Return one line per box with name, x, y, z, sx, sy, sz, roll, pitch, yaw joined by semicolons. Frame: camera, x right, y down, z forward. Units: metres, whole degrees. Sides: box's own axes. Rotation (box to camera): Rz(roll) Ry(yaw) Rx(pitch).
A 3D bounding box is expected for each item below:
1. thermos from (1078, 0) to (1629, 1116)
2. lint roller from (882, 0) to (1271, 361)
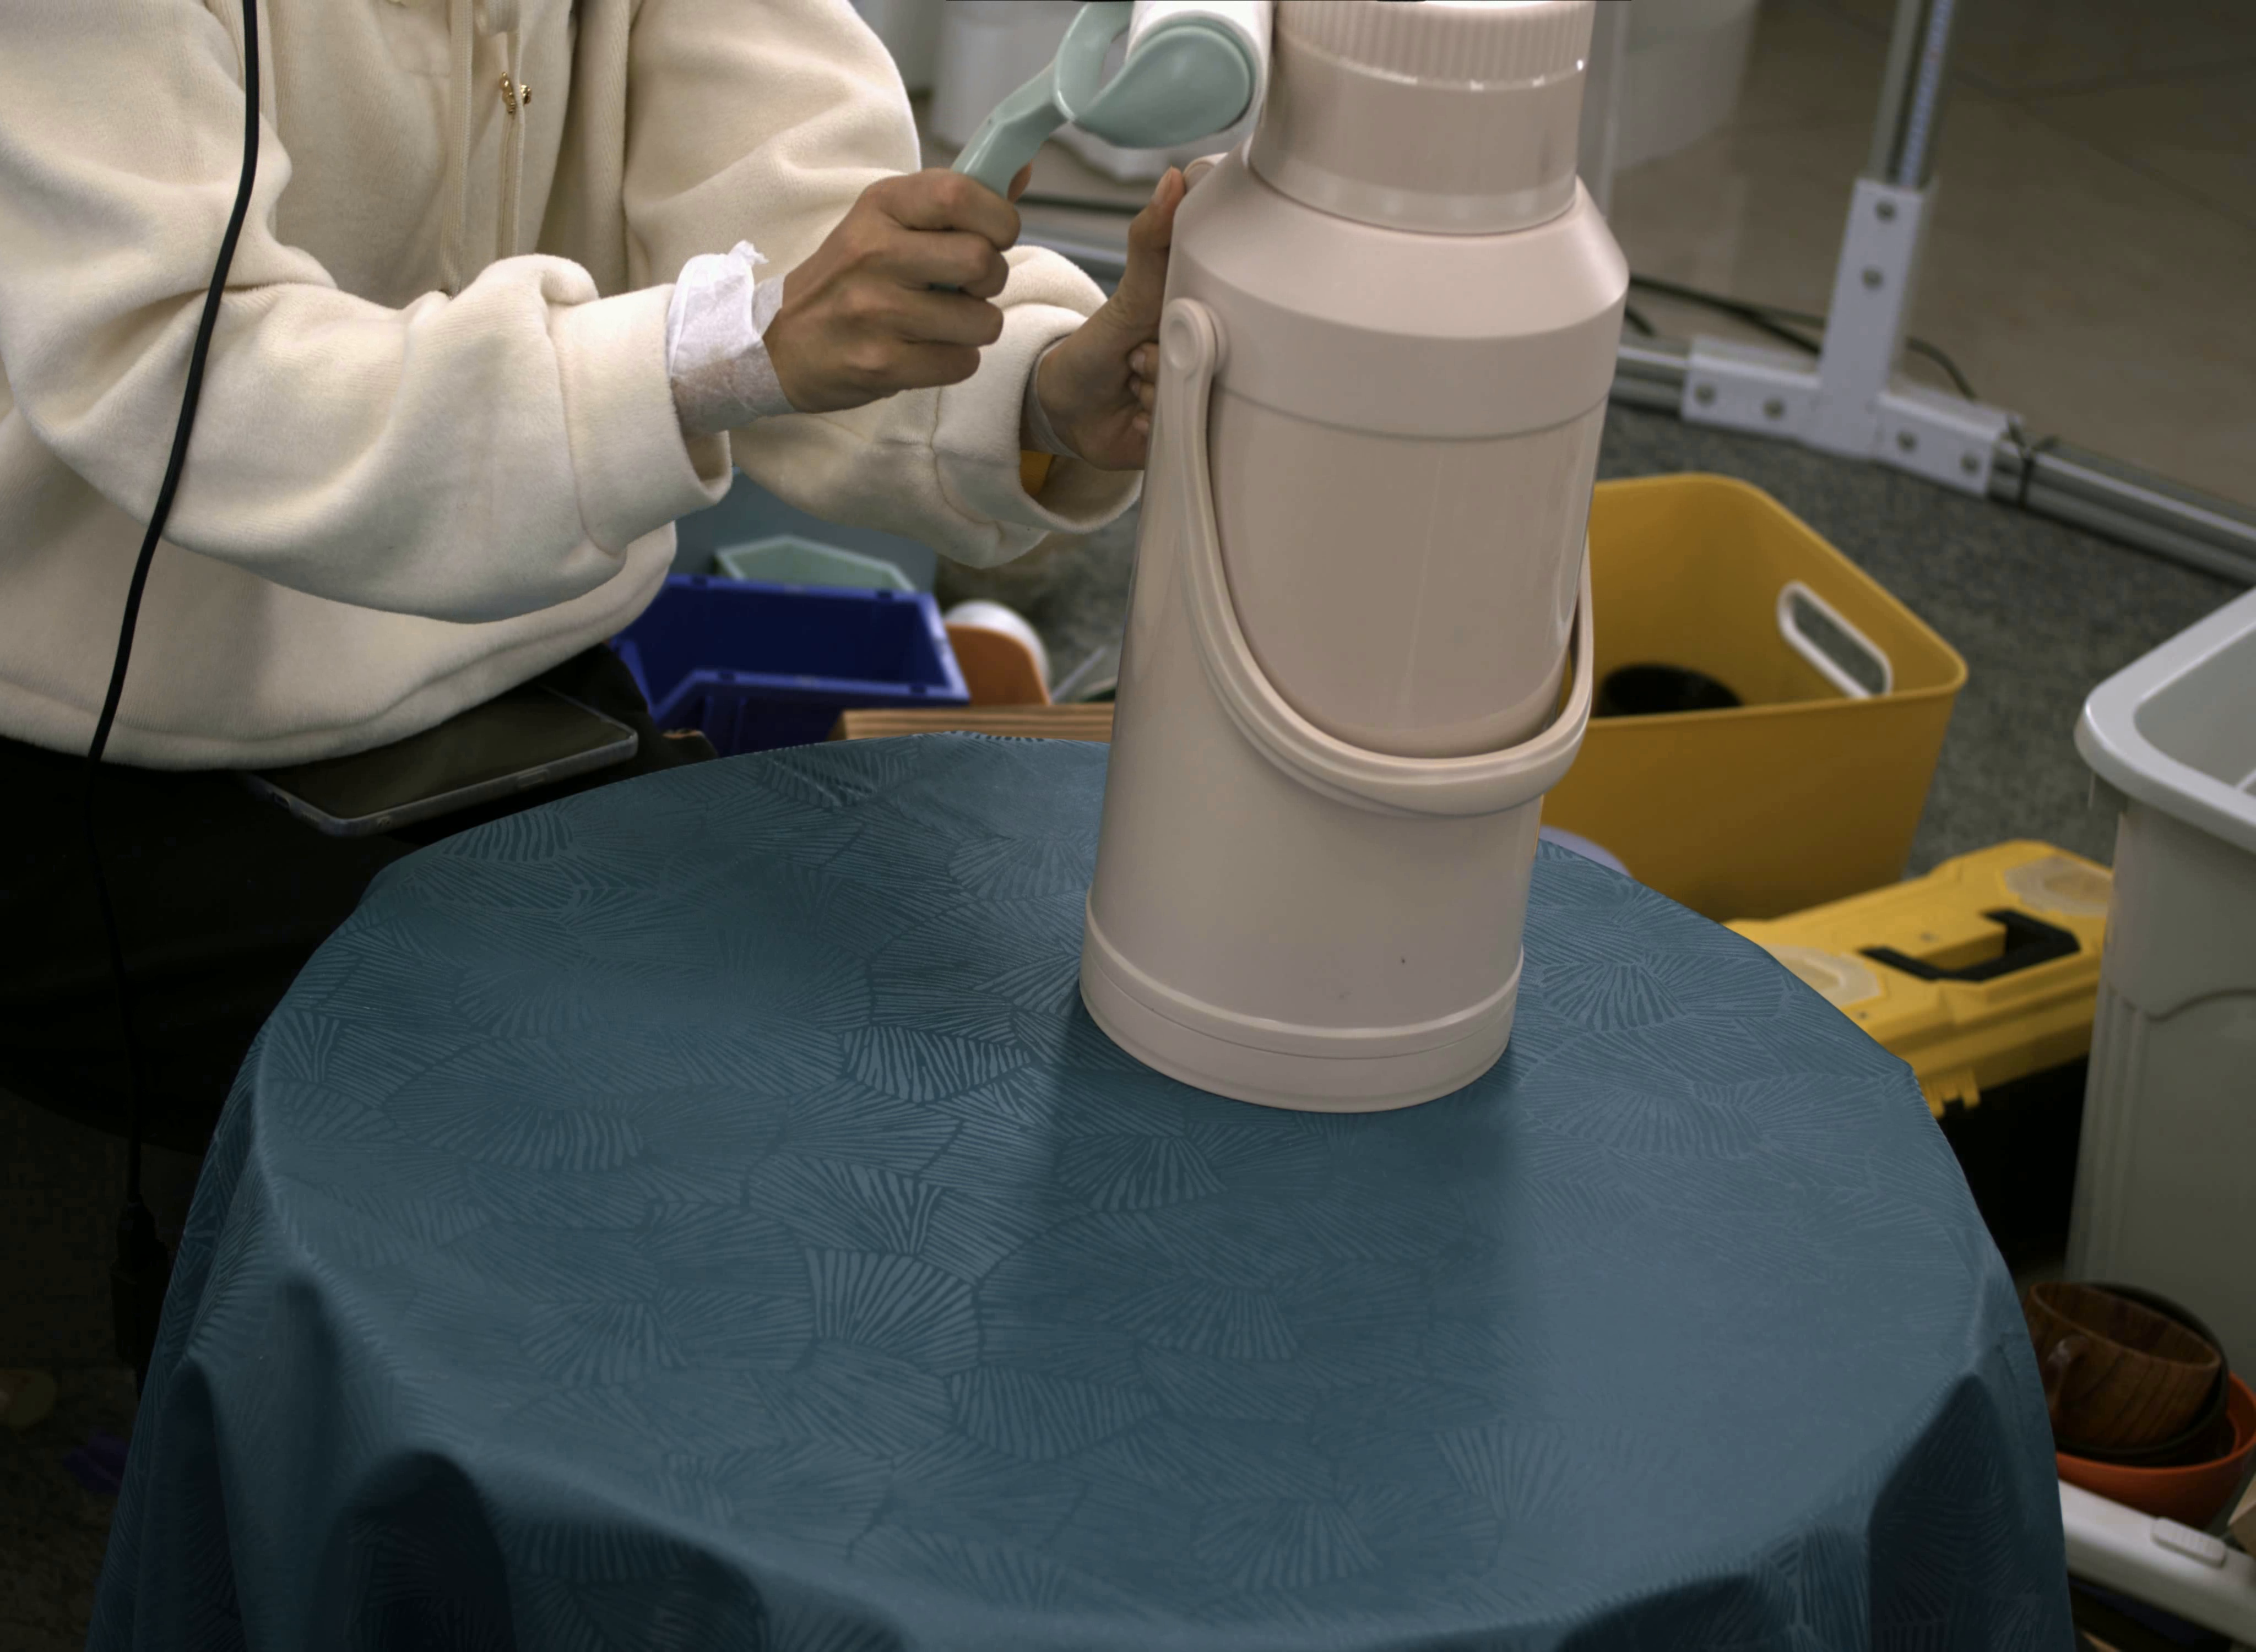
thermos;0.075;-0.116;1.854;0.174;0.405;0.209;-11;31;-31
lint roller;-0.026;-0.234;1.800;0.048;0.197;0.117;38;29;-21
